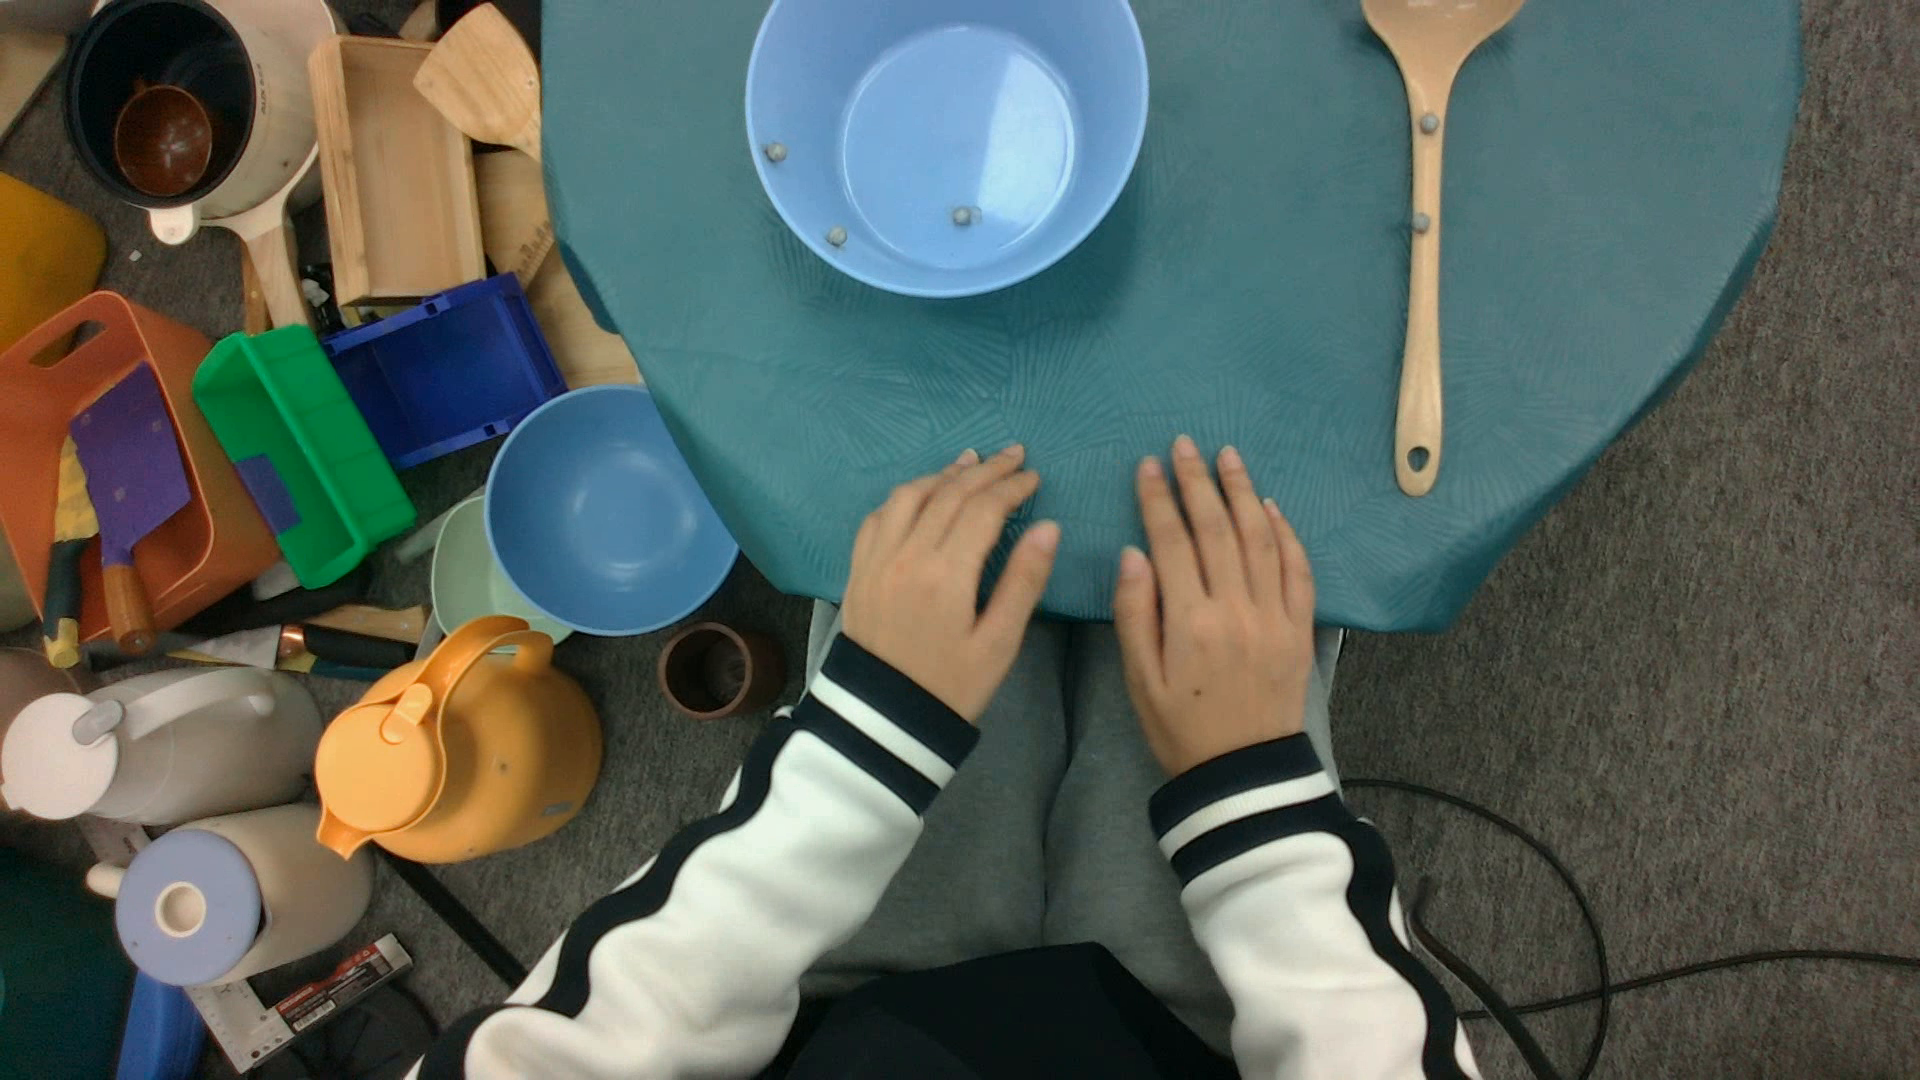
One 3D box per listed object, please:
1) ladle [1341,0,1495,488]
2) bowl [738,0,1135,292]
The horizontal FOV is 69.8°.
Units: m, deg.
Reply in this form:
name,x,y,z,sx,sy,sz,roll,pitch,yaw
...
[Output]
name,x,y,z,sx,sy,sz,roll,pitch,yaw
ladle,0.206,-0.153,0.608,0.072,0.073,0.254,0,85,6
bowl,-0.008,-0.192,0.632,0.176,0.070,0.176,-1,84,6
